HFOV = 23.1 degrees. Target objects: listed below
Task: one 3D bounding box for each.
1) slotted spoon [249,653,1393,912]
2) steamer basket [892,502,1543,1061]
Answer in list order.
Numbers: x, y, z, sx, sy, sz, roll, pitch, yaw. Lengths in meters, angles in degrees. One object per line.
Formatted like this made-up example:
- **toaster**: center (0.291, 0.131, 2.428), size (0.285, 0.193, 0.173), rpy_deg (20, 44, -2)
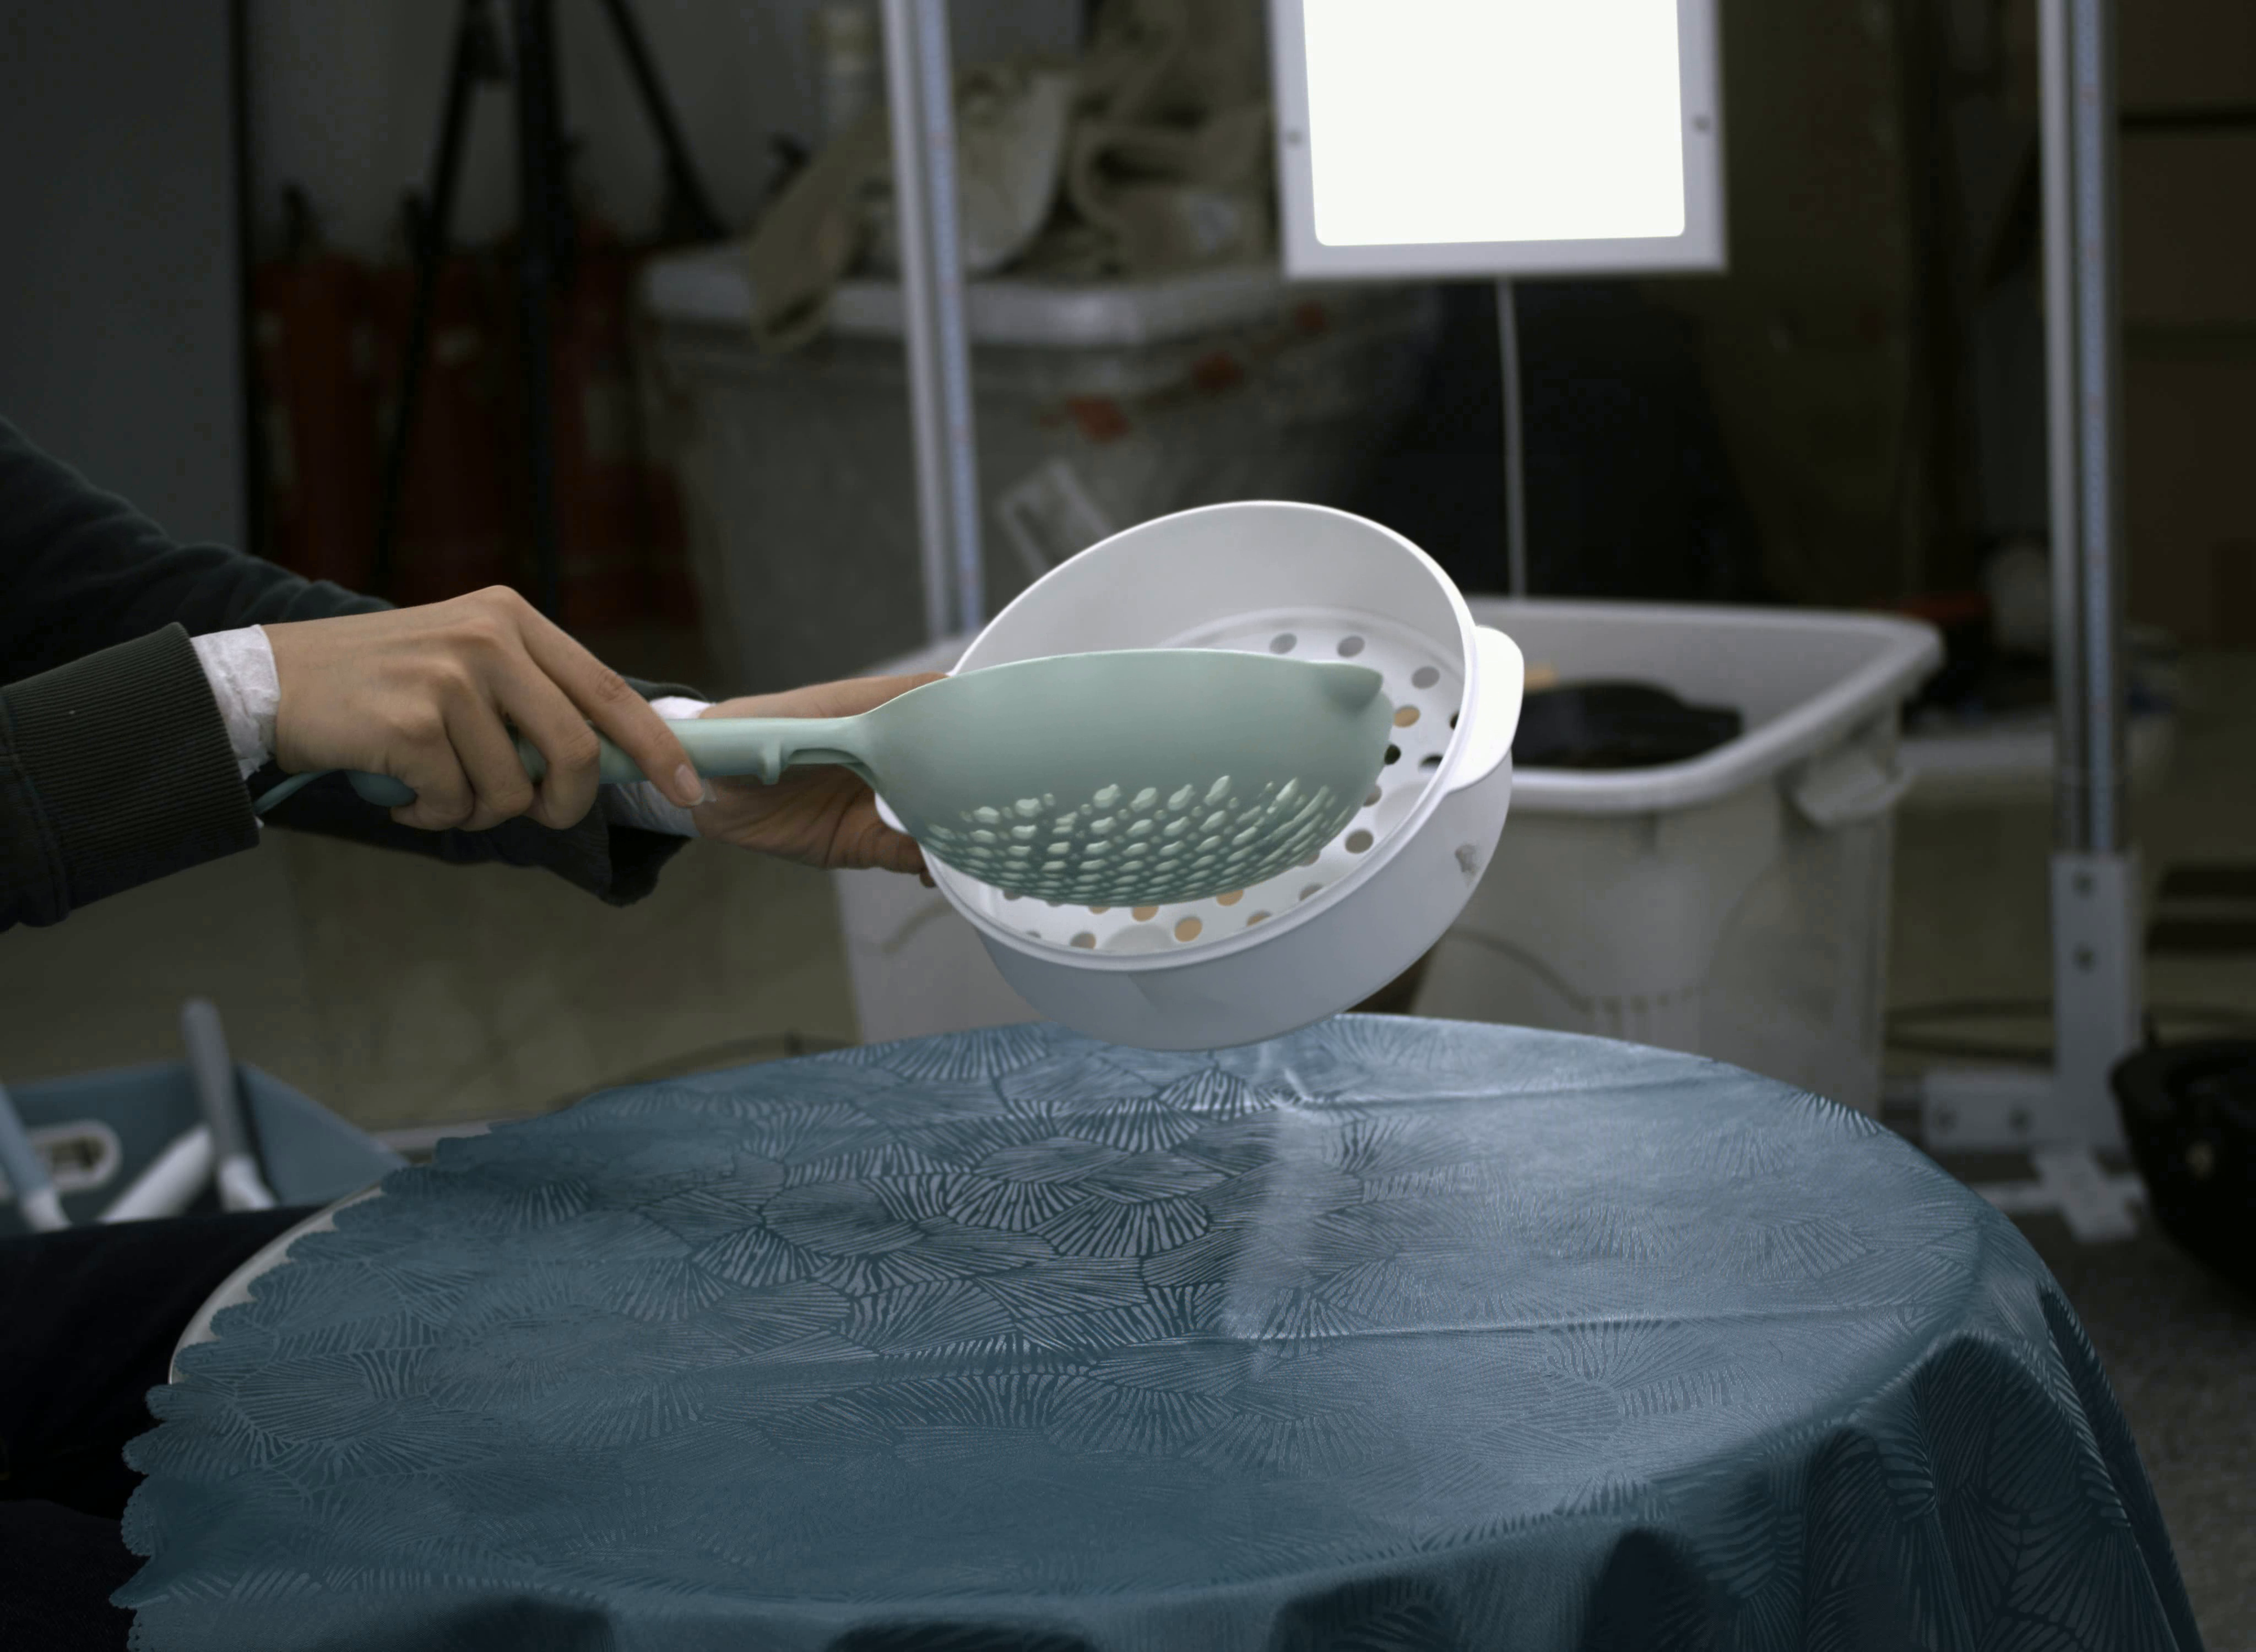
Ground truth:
- **slotted spoon**: center (-0.095, -0.019, 1.749), size (0.356, 0.075, 0.170), rpy_deg (7, -16, -4)
- **steamer basket**: center (0.037, -0.015, 1.856), size (0.234, 0.069, 0.200), rpy_deg (-6, 49, 22)
